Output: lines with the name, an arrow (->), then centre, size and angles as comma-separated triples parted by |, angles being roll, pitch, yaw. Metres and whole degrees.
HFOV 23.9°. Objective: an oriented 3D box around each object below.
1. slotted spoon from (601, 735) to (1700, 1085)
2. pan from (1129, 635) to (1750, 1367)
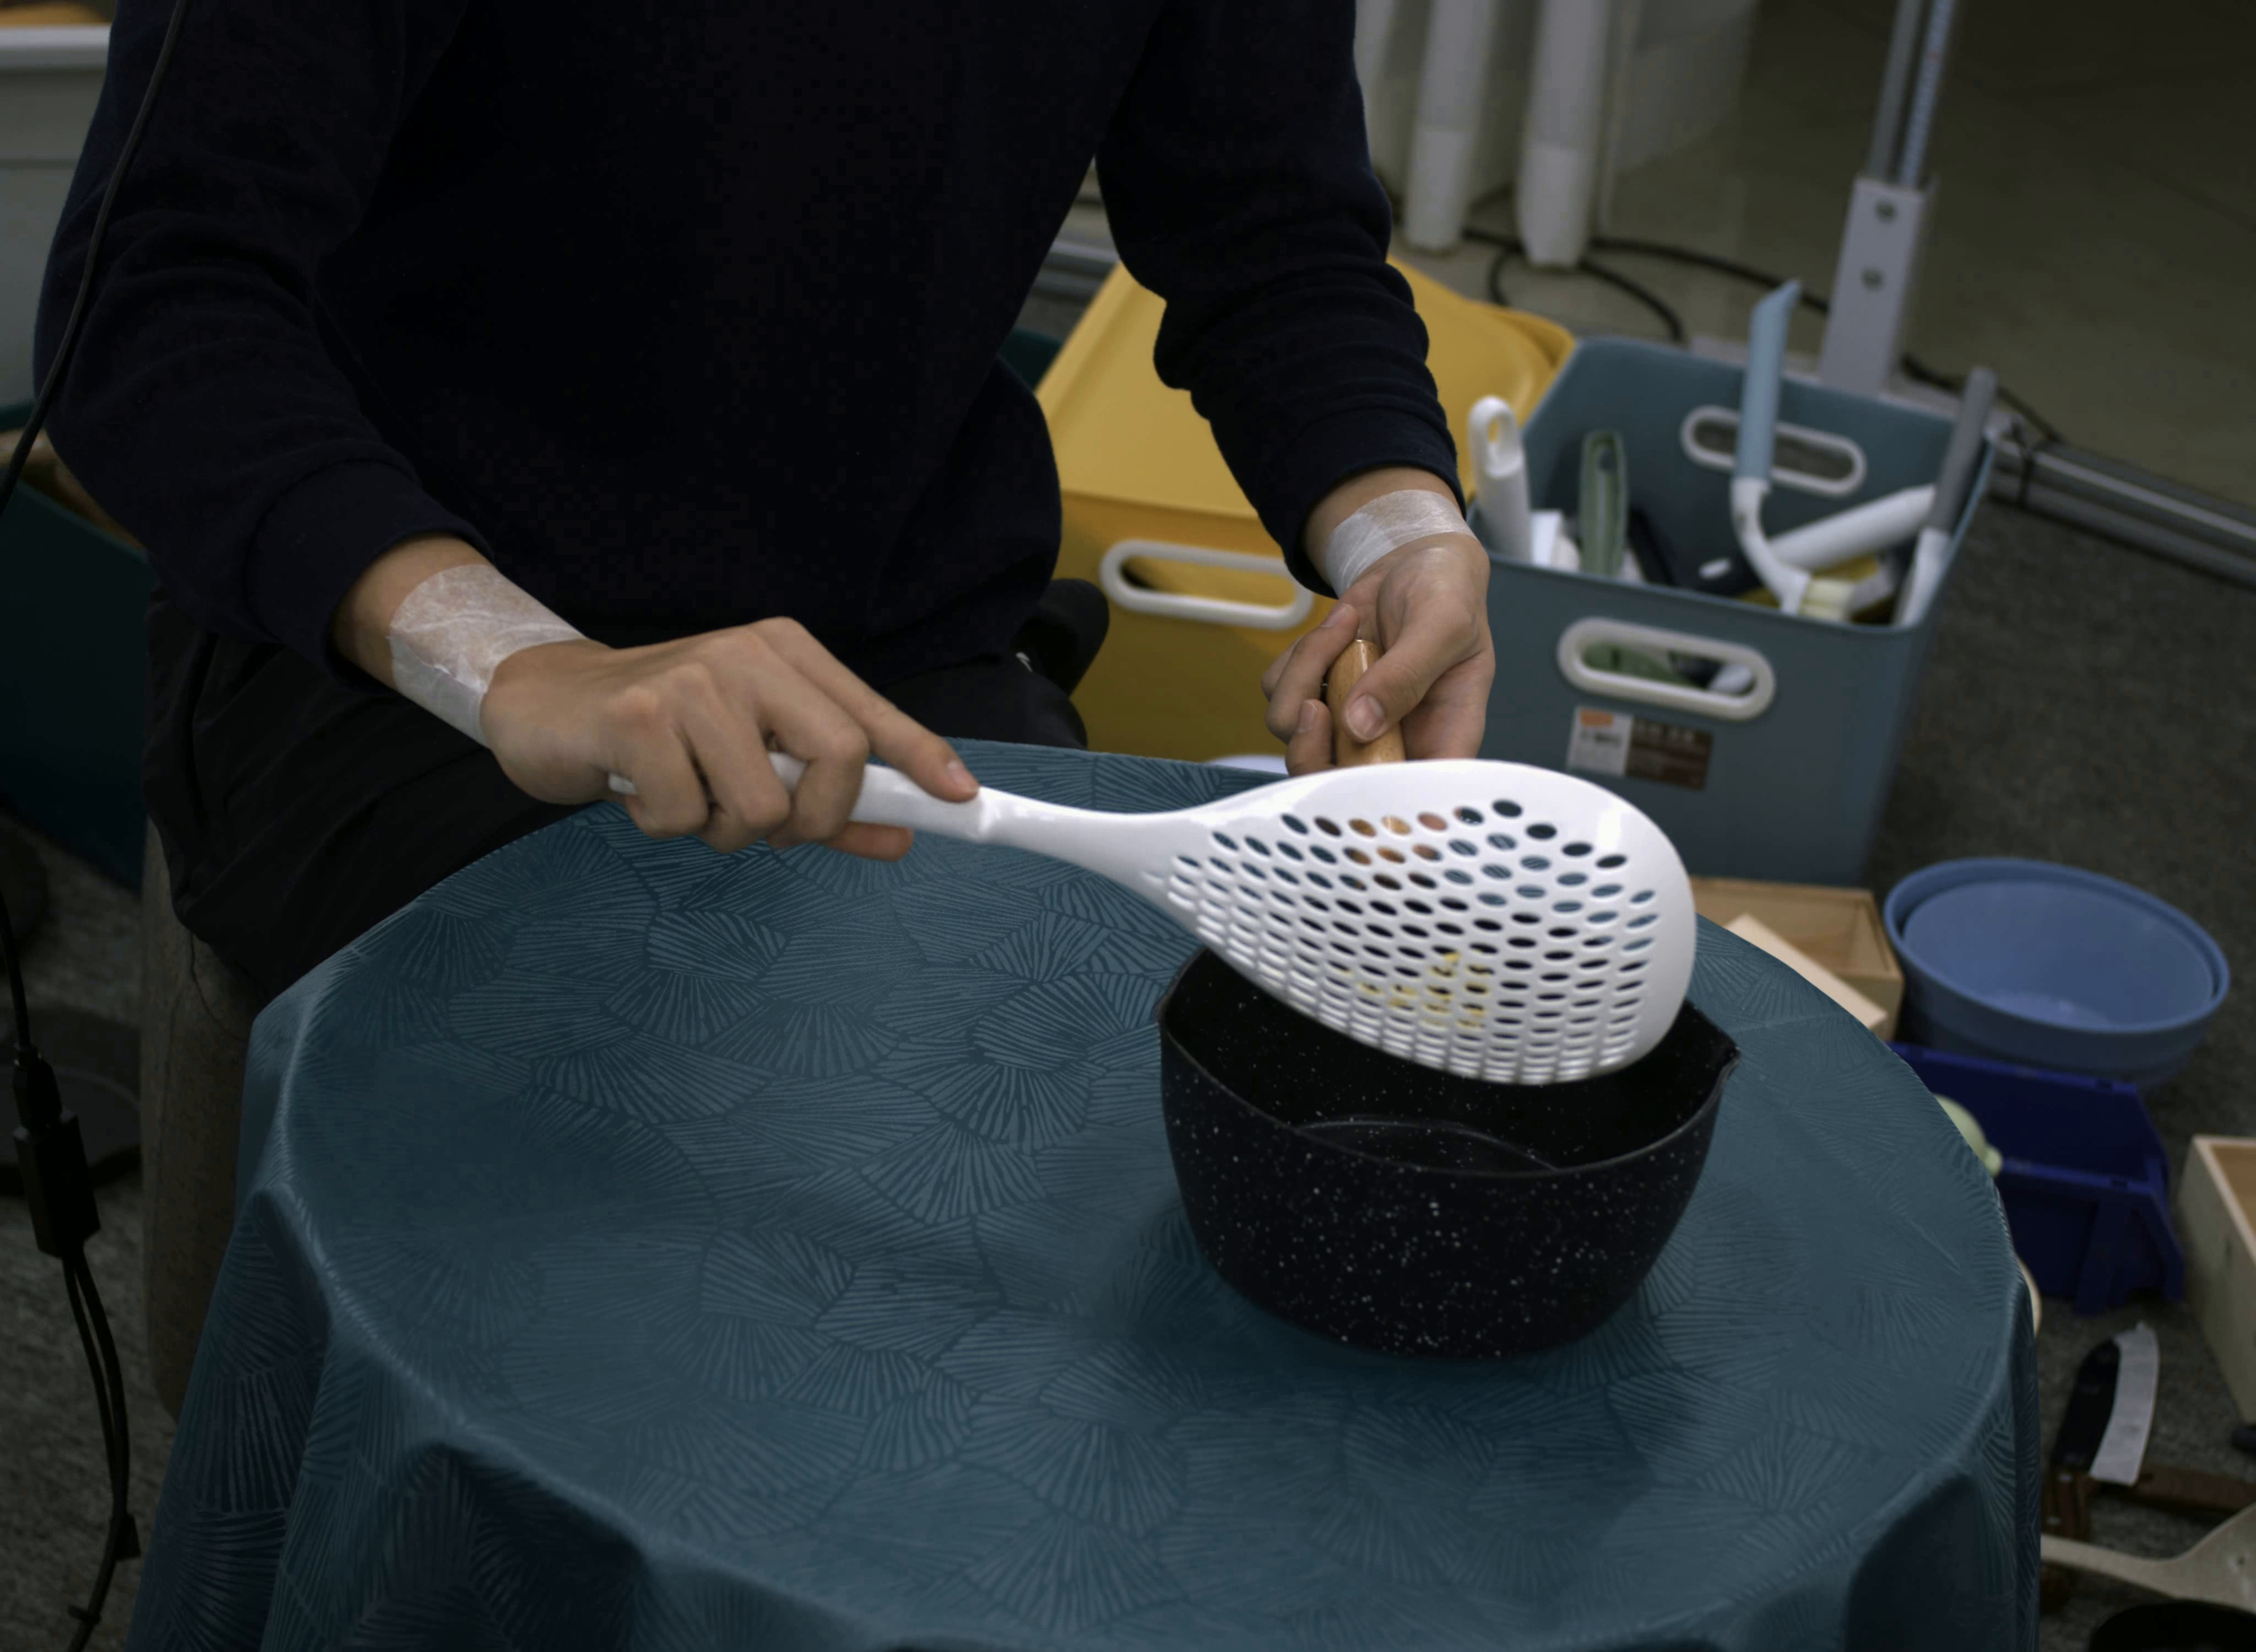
slotted spoon -> 0.006, 0.013, 1.676 | 0.348, 0.136, 0.050 | 15, 43, 8
pan -> 0.093, 0.056, 1.837 | 0.206, 0.108, 0.345 | 2, 29, -8
